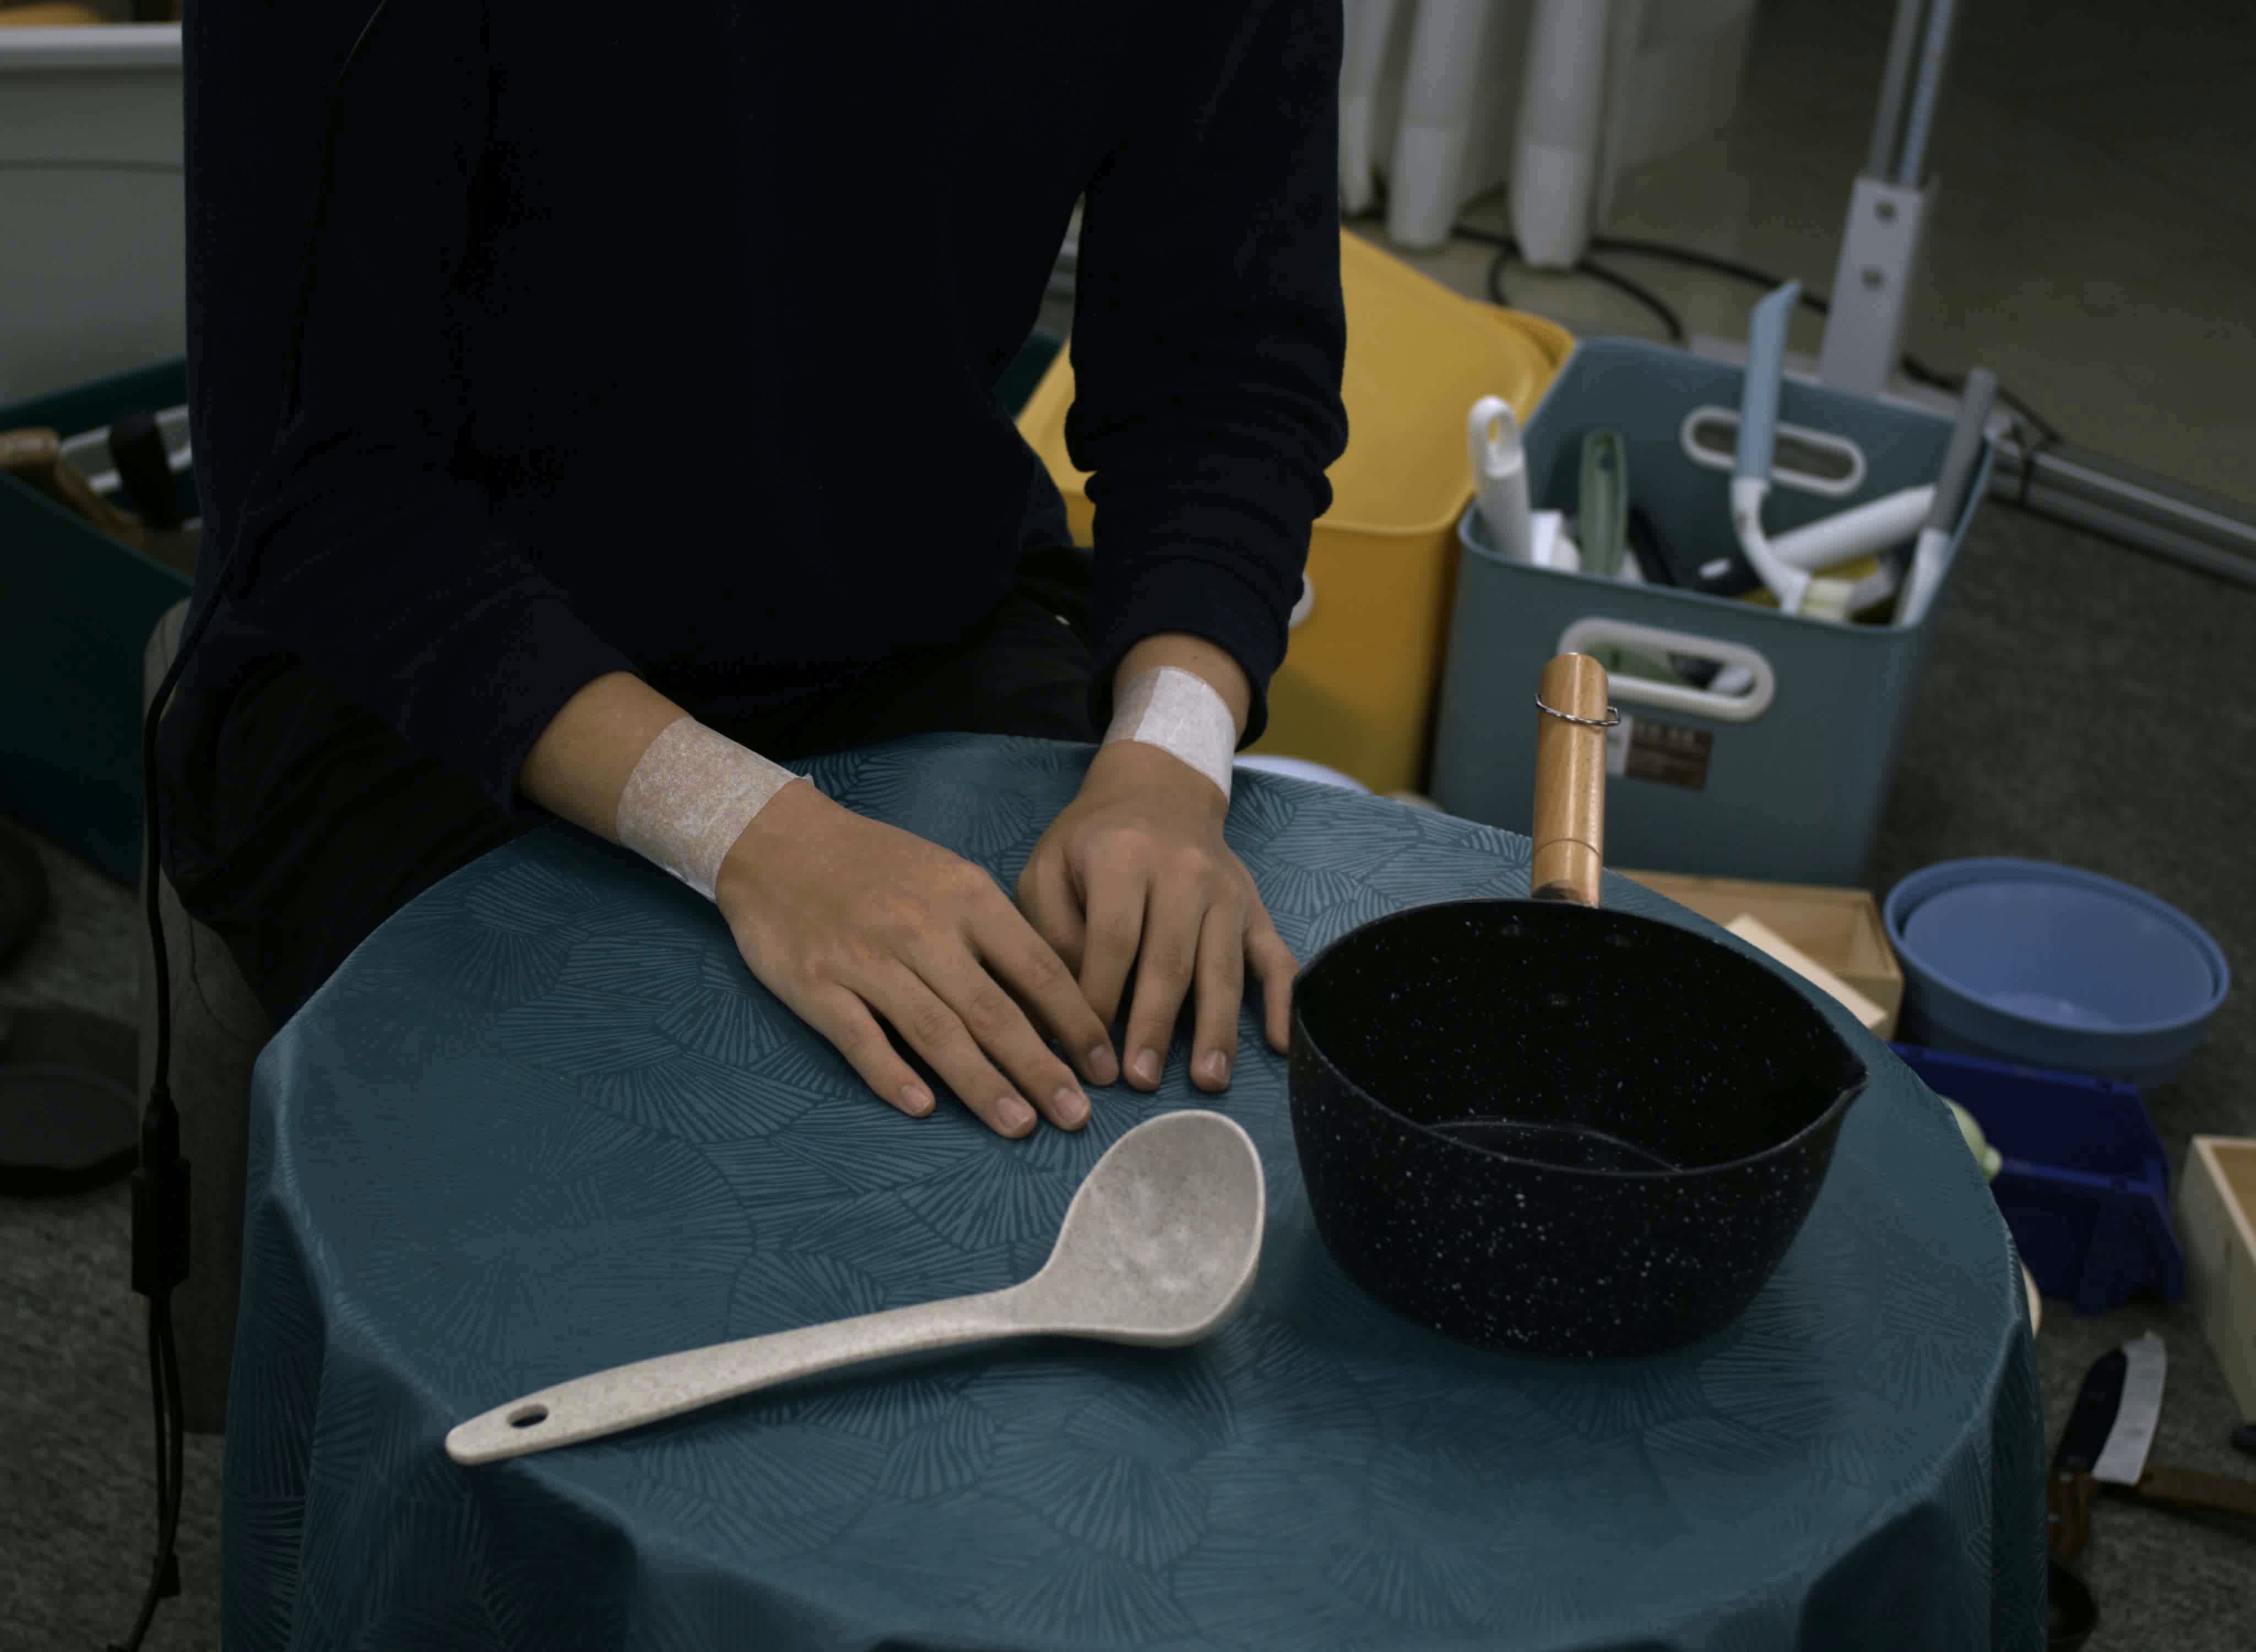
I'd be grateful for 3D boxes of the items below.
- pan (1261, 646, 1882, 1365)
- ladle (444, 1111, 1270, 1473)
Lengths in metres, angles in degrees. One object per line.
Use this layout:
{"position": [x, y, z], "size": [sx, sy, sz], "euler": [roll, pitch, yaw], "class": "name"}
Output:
{"position": [0.148, 0.058, 1.846], "size": [0.207, 0.108, 0.345], "euler": [6, 28, 1], "class": "pan"}
{"position": [-0.083, 0.147, 1.667], "size": [0.273, 0.069, 0.090], "euler": [-9, 38, -27], "class": "ladle"}
